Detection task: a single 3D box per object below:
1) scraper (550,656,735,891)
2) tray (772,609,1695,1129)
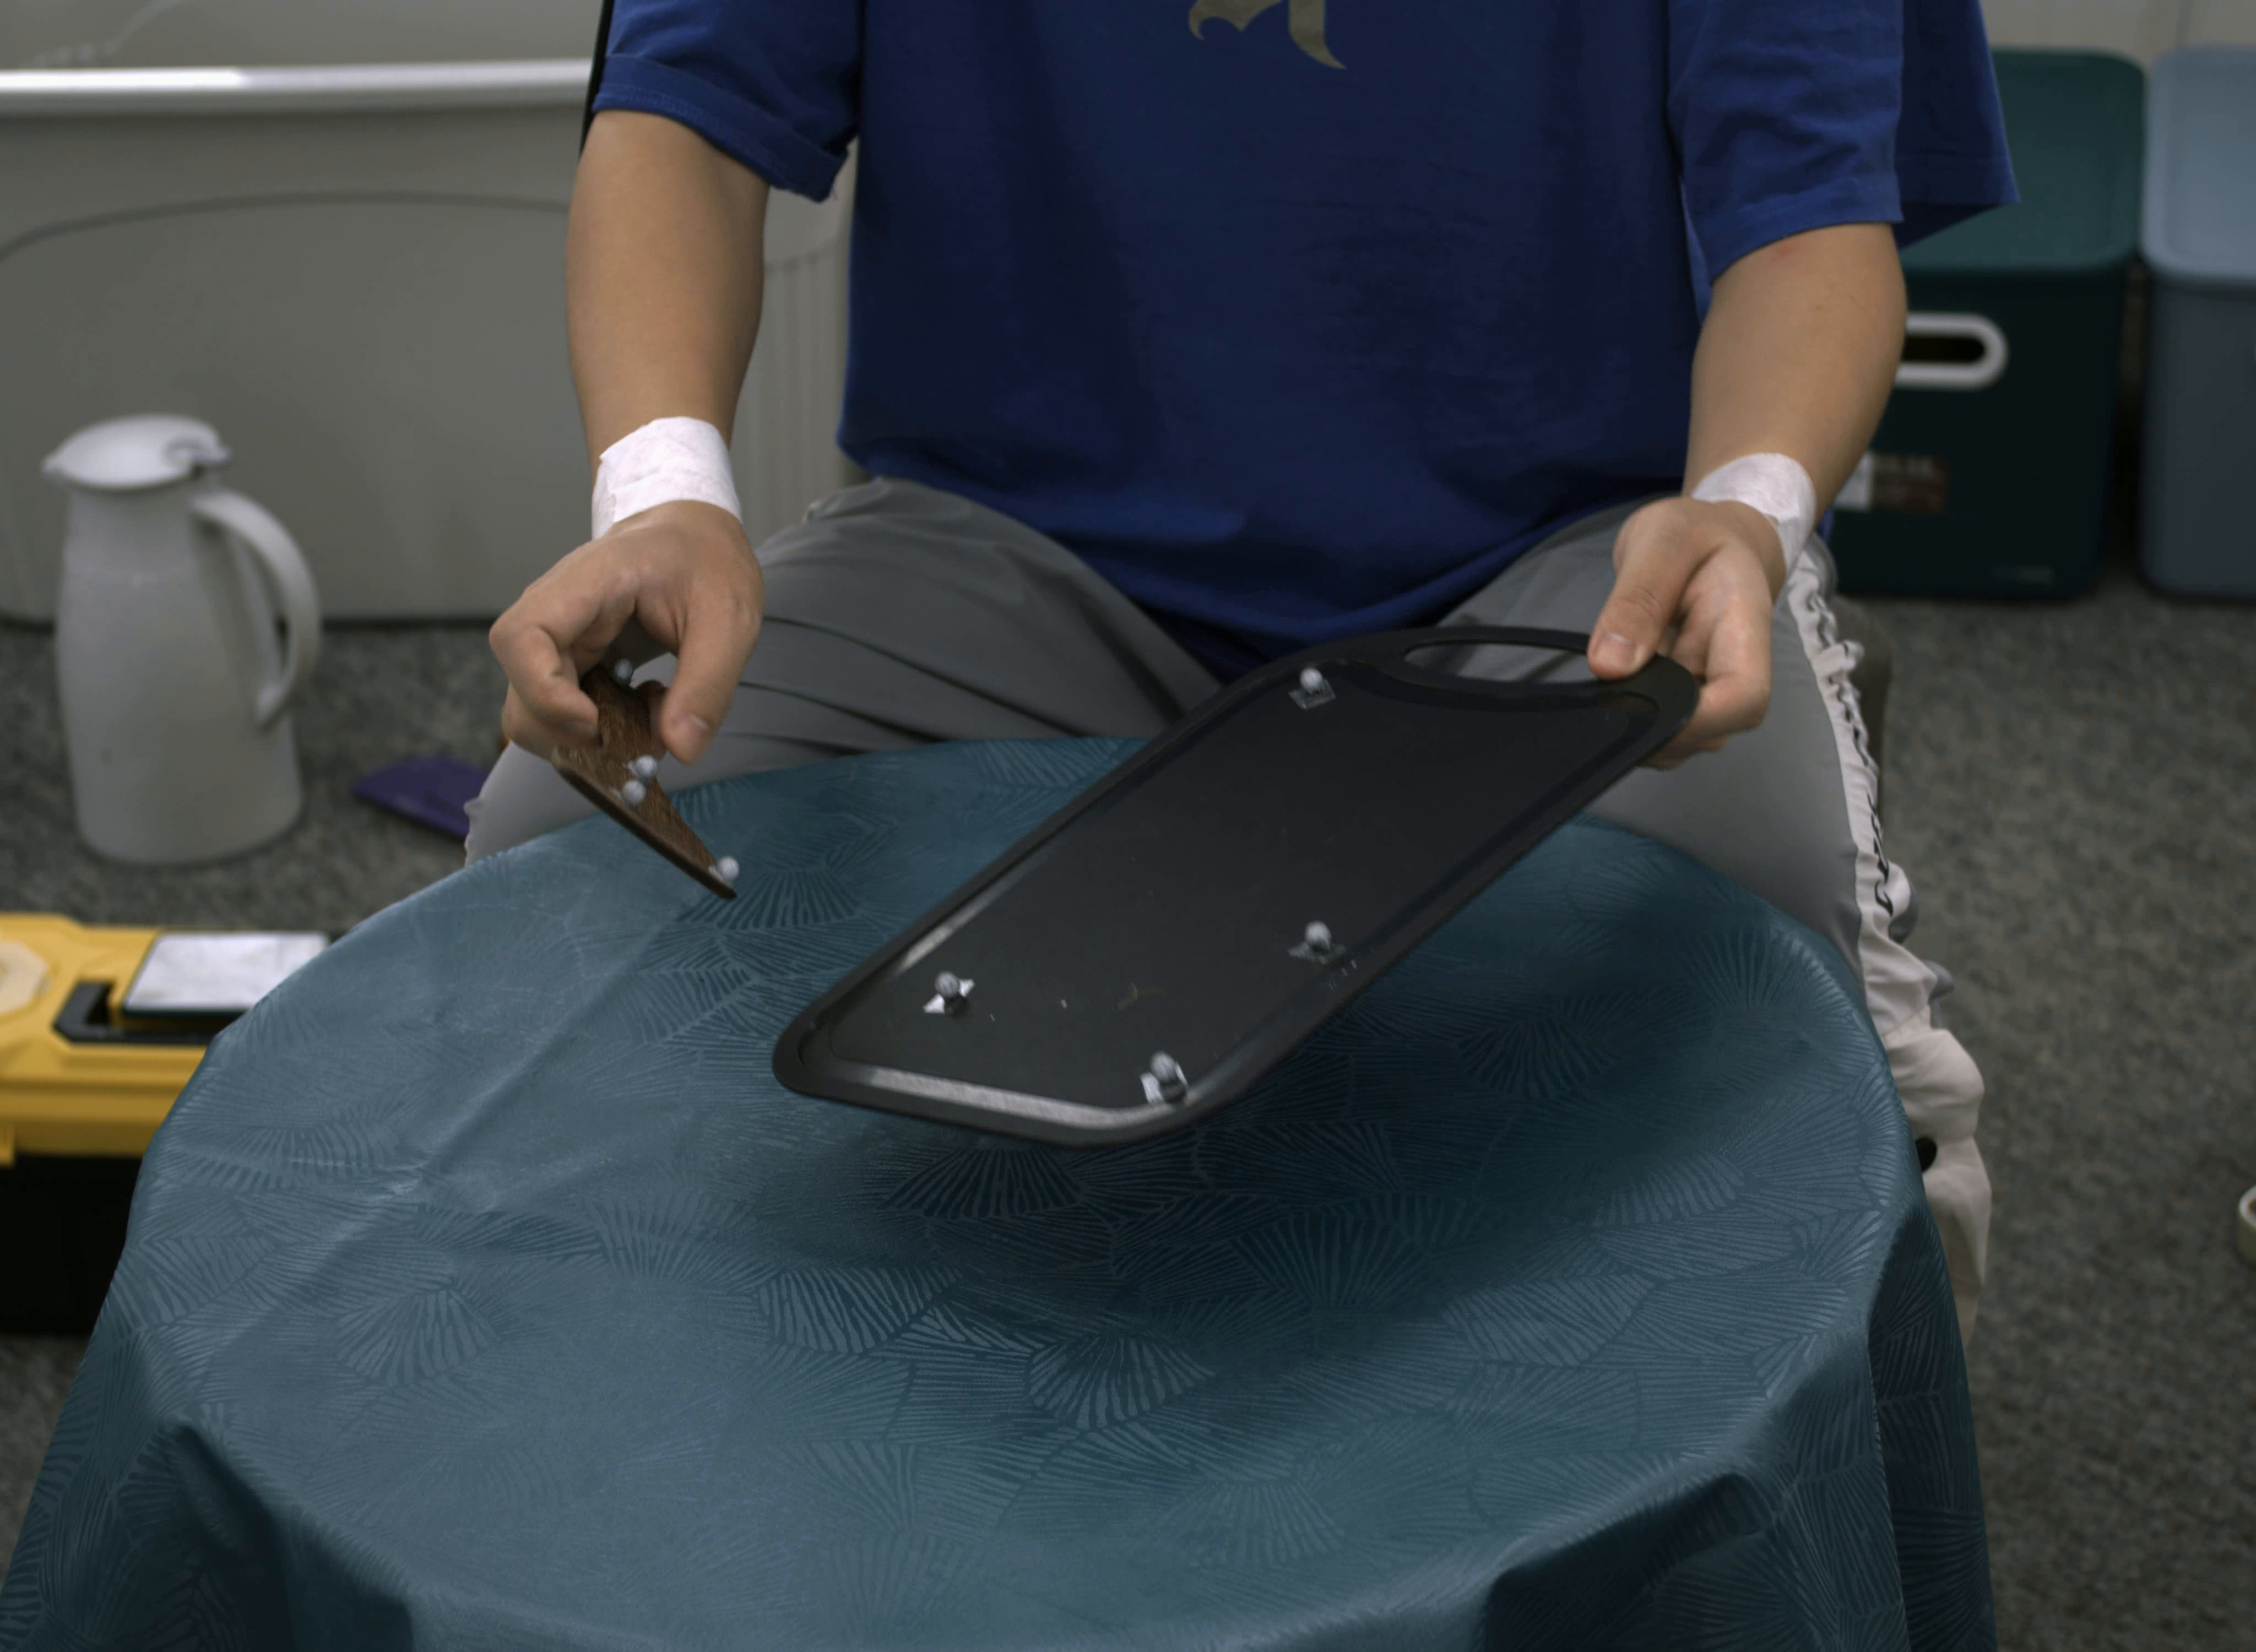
[{"bbox_3d":[-0.171,-0.025,1.917,0.011,0.075,0.212,-49,16,6],"label":"scraper"},{"bbox_3d":[0.041,0.005,1.876,0.209,0.010,0.330,7,34,46],"label":"tray"}]
